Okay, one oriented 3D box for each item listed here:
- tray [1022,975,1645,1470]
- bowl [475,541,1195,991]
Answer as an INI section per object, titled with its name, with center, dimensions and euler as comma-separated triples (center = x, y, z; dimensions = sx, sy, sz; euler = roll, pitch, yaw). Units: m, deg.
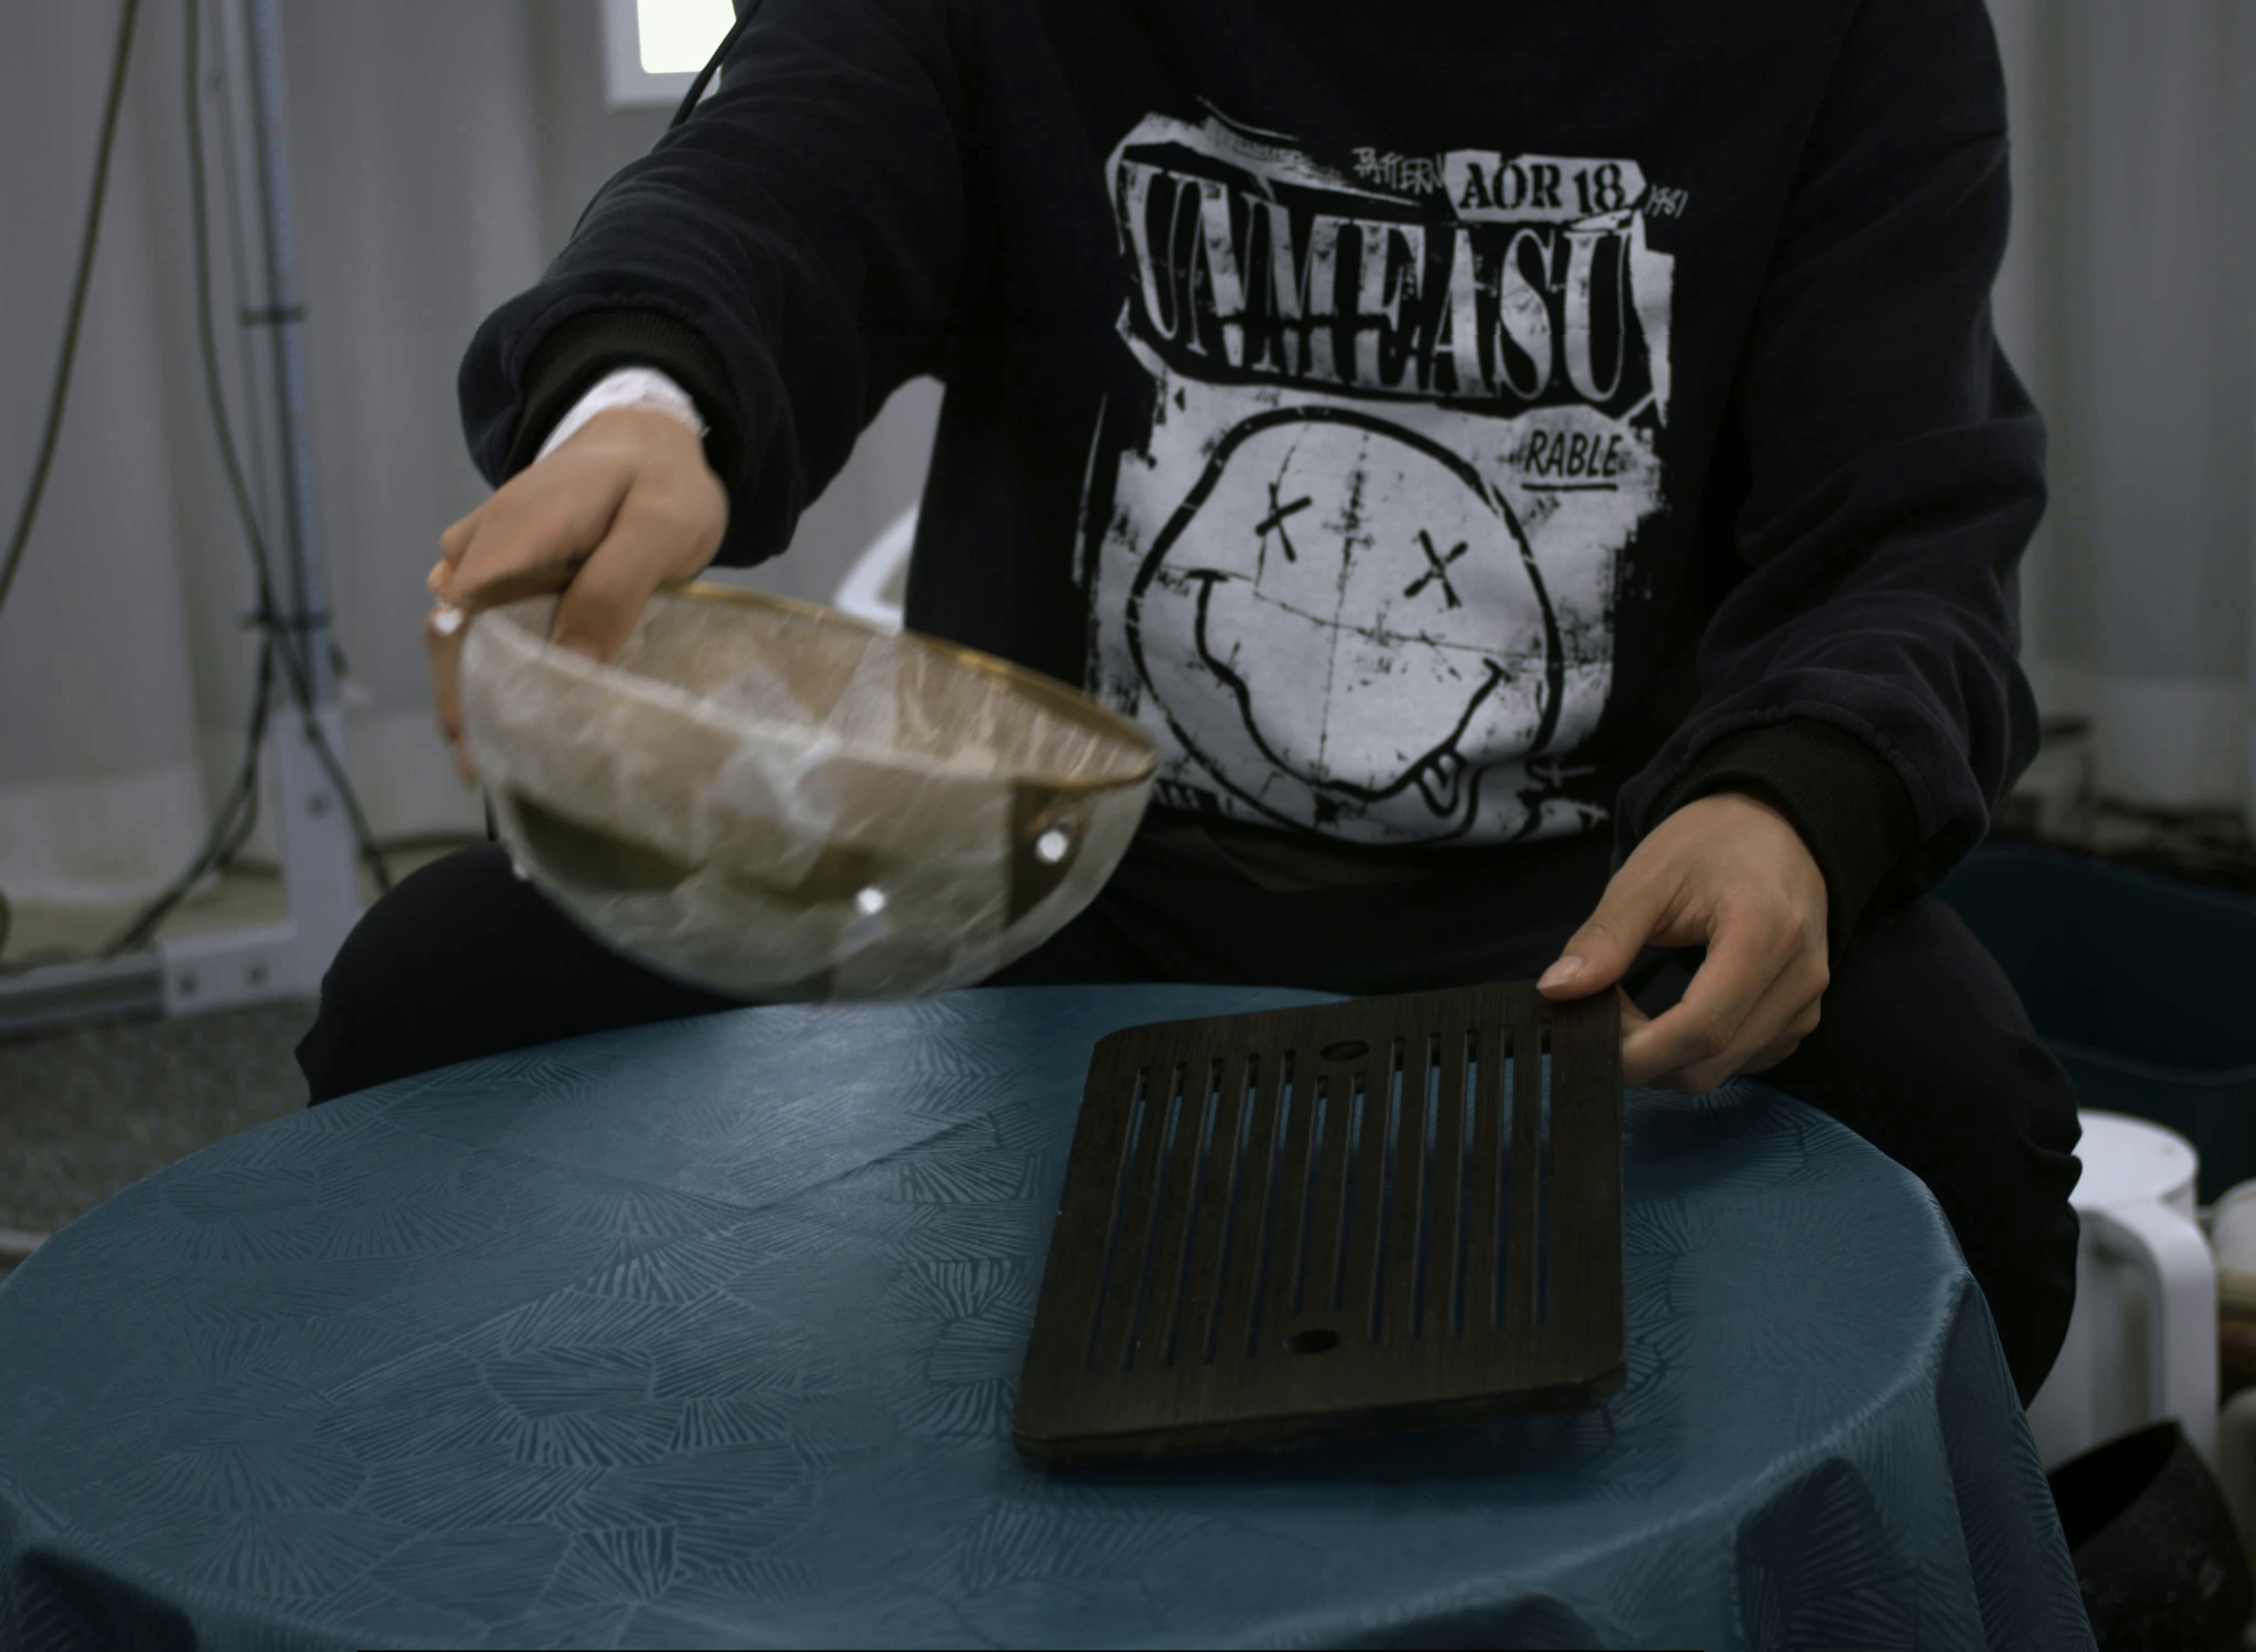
[tray]
center = 0.065, 0.113, 1.607
dimensions = 0.169, 0.018, 0.308
euler = -7, 18, 7
[bowl]
center = -0.090, -0.007, 1.549
dimensions = 0.214, 0.094, 0.216
euler = 13, 10, -3
